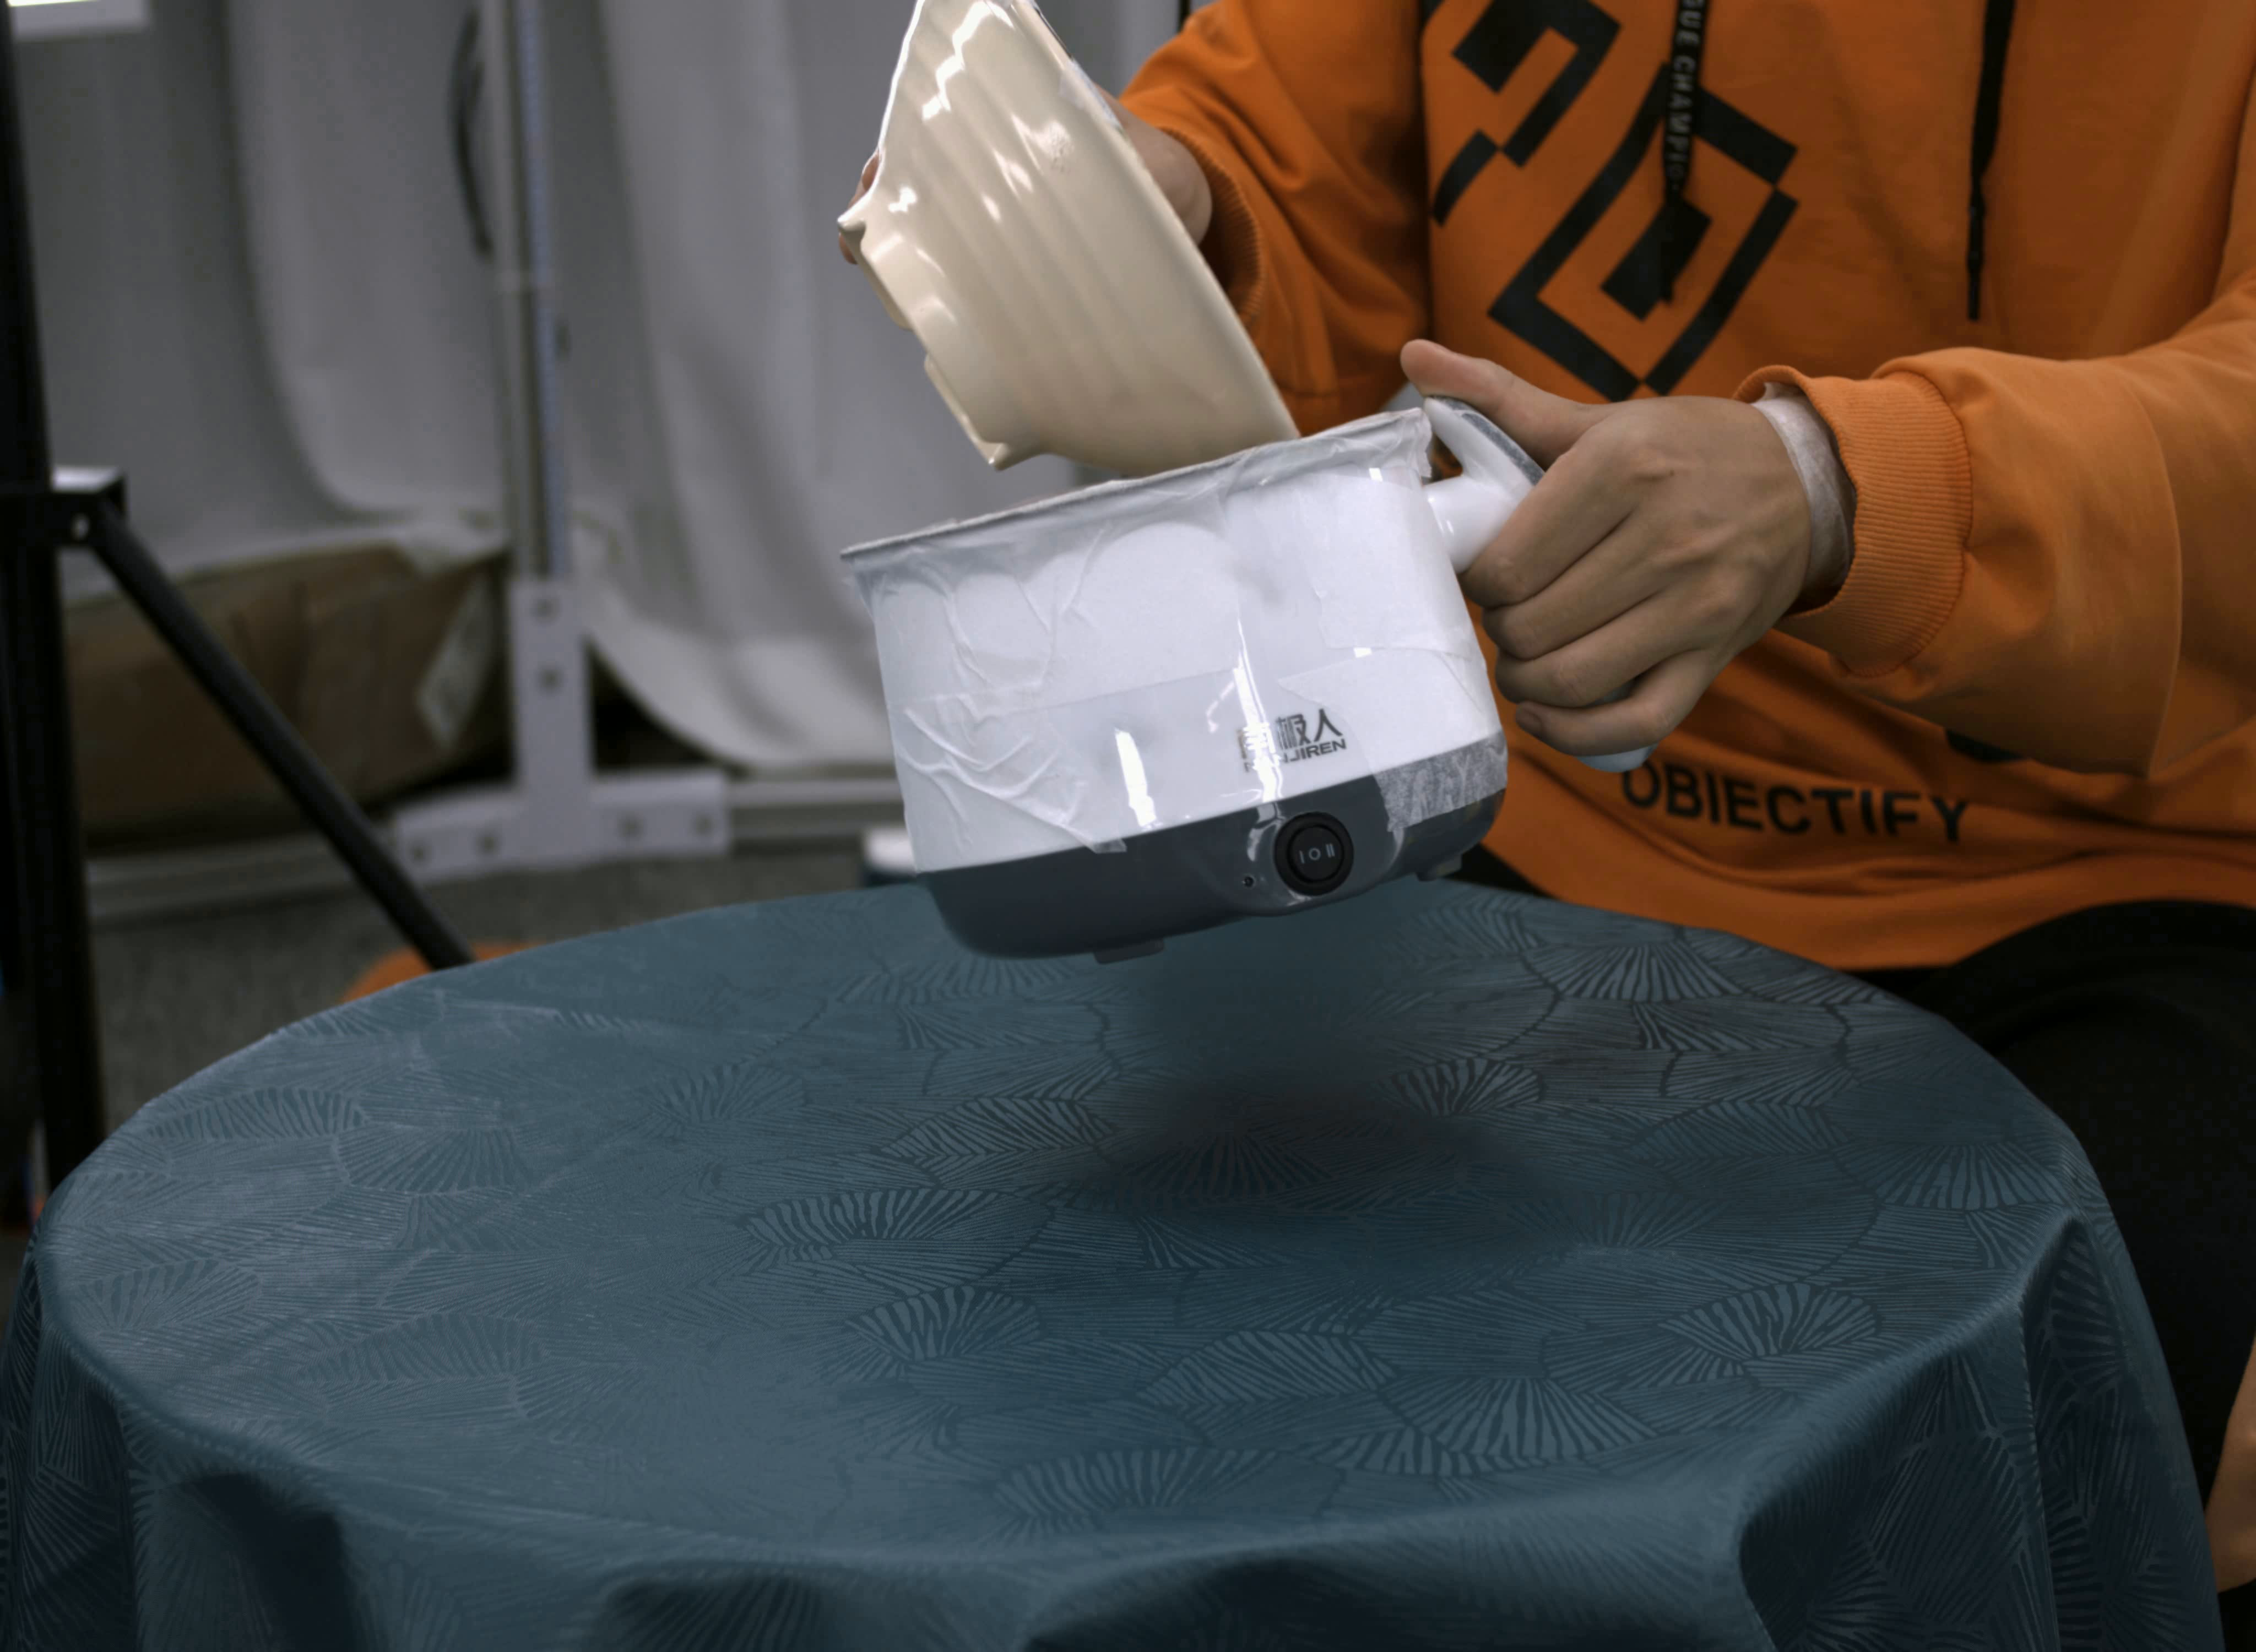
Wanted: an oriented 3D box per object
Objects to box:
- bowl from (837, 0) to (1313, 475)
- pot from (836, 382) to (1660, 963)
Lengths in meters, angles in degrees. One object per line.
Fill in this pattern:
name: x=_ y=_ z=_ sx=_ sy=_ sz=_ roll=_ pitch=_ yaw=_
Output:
bowl: x=-0.030 y=-0.163 z=1.558 sx=0.077 sy=0.202 sz=0.207 roll=-33 pitch=20 yaw=-4
pot: x=0.040 y=-0.047 z=1.567 sx=0.230 sy=0.137 sz=0.181 roll=-14 pitch=4 yaw=-17
